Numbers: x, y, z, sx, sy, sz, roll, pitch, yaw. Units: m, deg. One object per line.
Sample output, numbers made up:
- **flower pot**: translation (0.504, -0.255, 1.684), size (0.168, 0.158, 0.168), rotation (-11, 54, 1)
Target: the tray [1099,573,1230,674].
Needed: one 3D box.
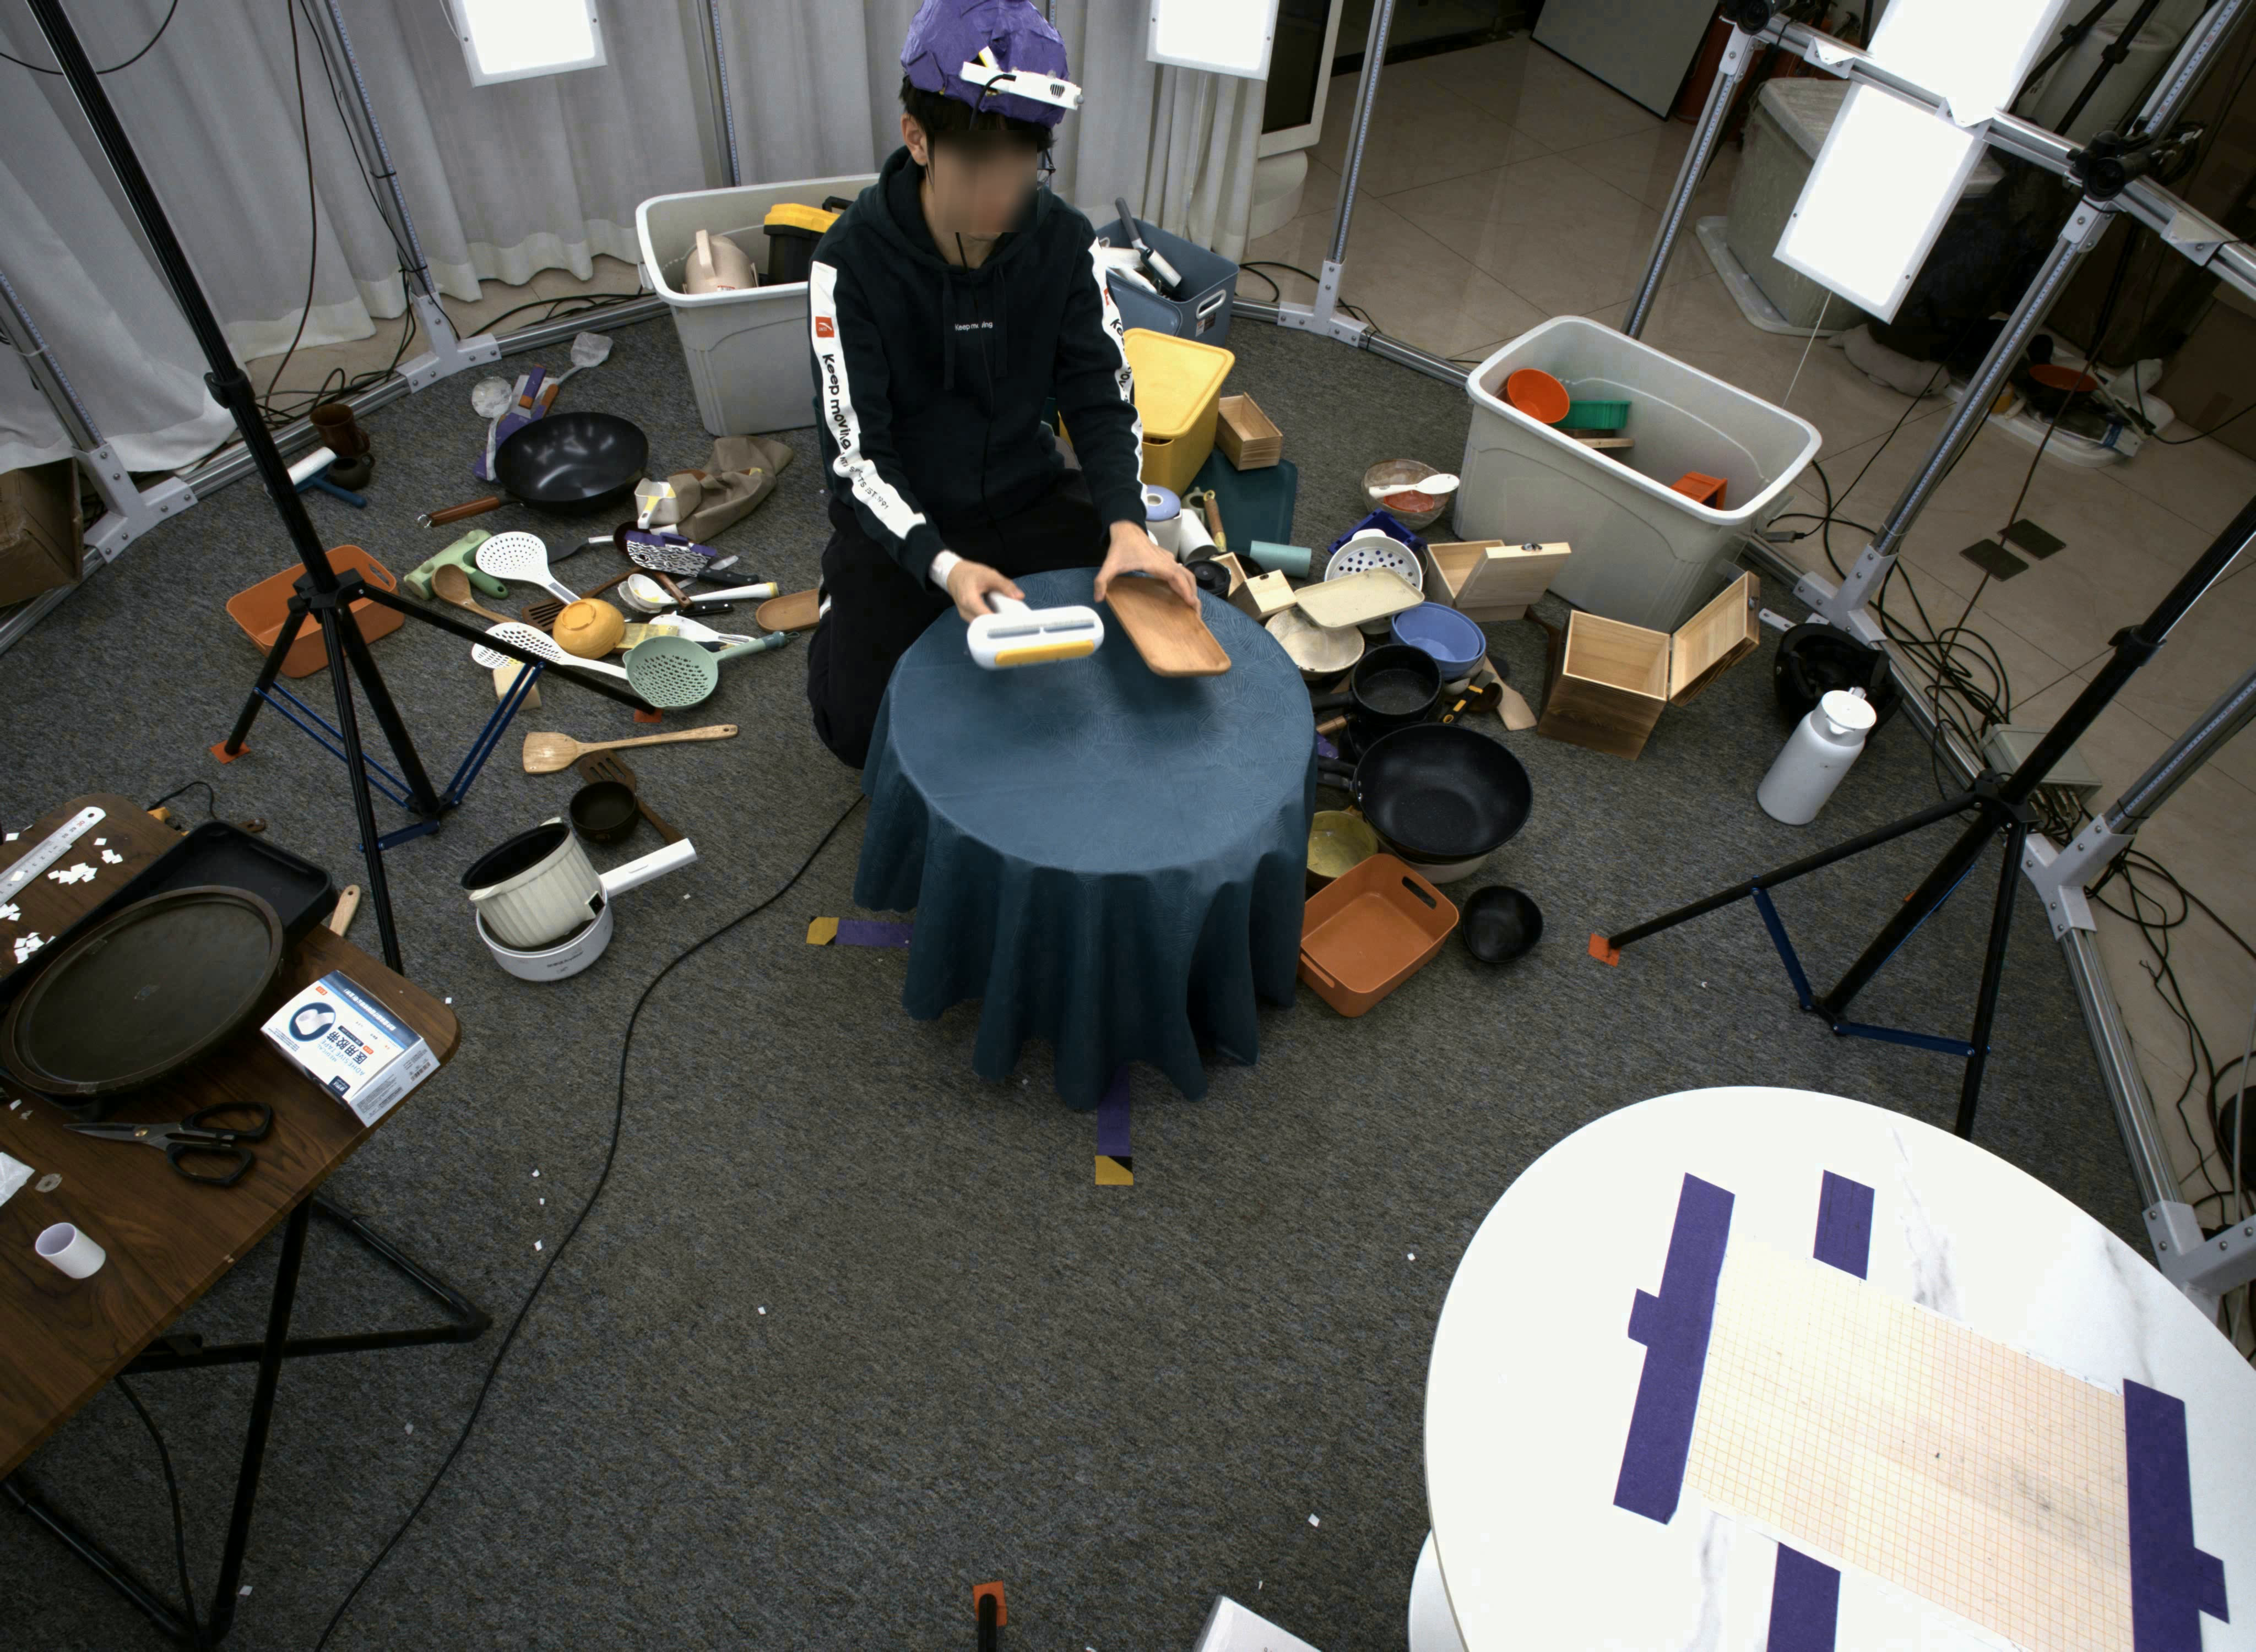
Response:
- **tray**: translation (0.049, -0.292, 1.839), size (0.130, 0.022, 0.257), rotation (0, 39, -24)

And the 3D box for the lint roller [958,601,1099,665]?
- **lint roller**: translation (-0.154, -0.282, 1.788), size (0.192, 0.072, 0.197), rotation (-7, 35, -20)
